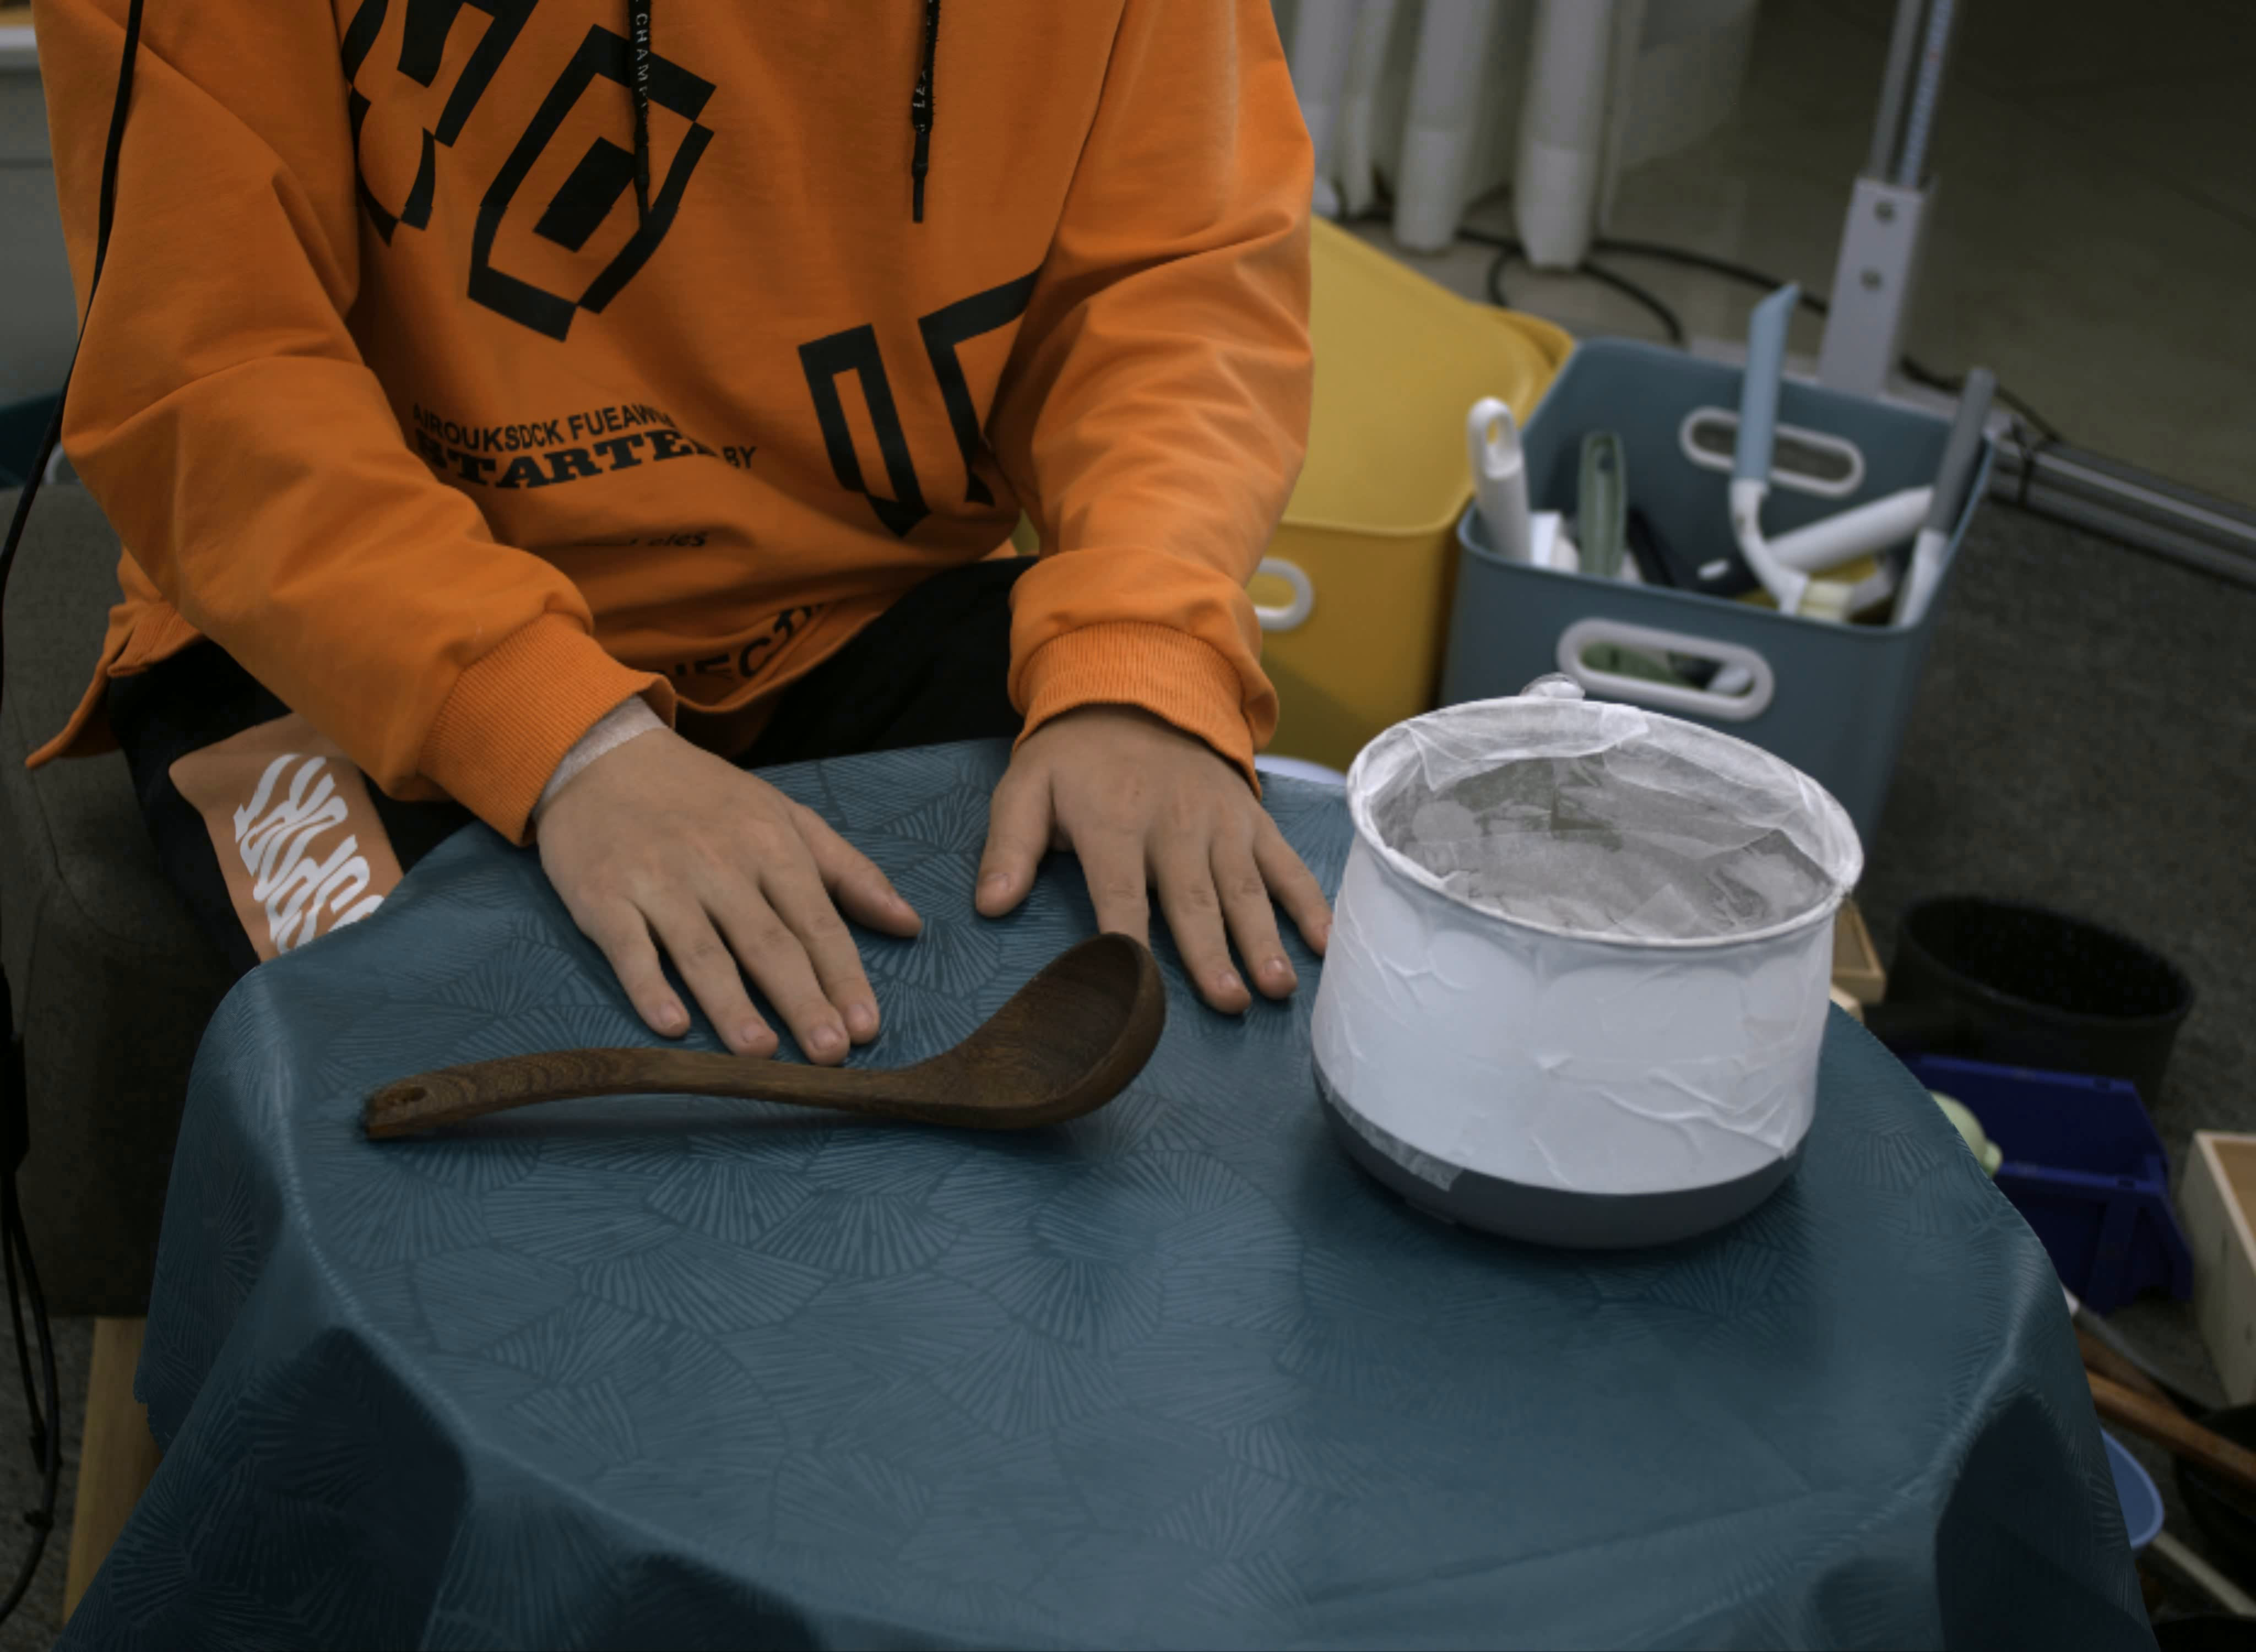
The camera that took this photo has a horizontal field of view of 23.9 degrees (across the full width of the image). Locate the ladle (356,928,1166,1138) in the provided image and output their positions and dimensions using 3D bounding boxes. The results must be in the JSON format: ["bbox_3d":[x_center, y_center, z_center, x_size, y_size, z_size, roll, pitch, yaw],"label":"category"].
[{"bbox_3d":[-0.123,0.070,1.803,0.272,0.071,0.076,0,25,-14],"label":"ladle"}]

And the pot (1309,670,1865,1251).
[{"bbox_3d":[0.151,0.039,1.850,0.178,0.136,0.235,3,27,-9],"label":"pot"}]
